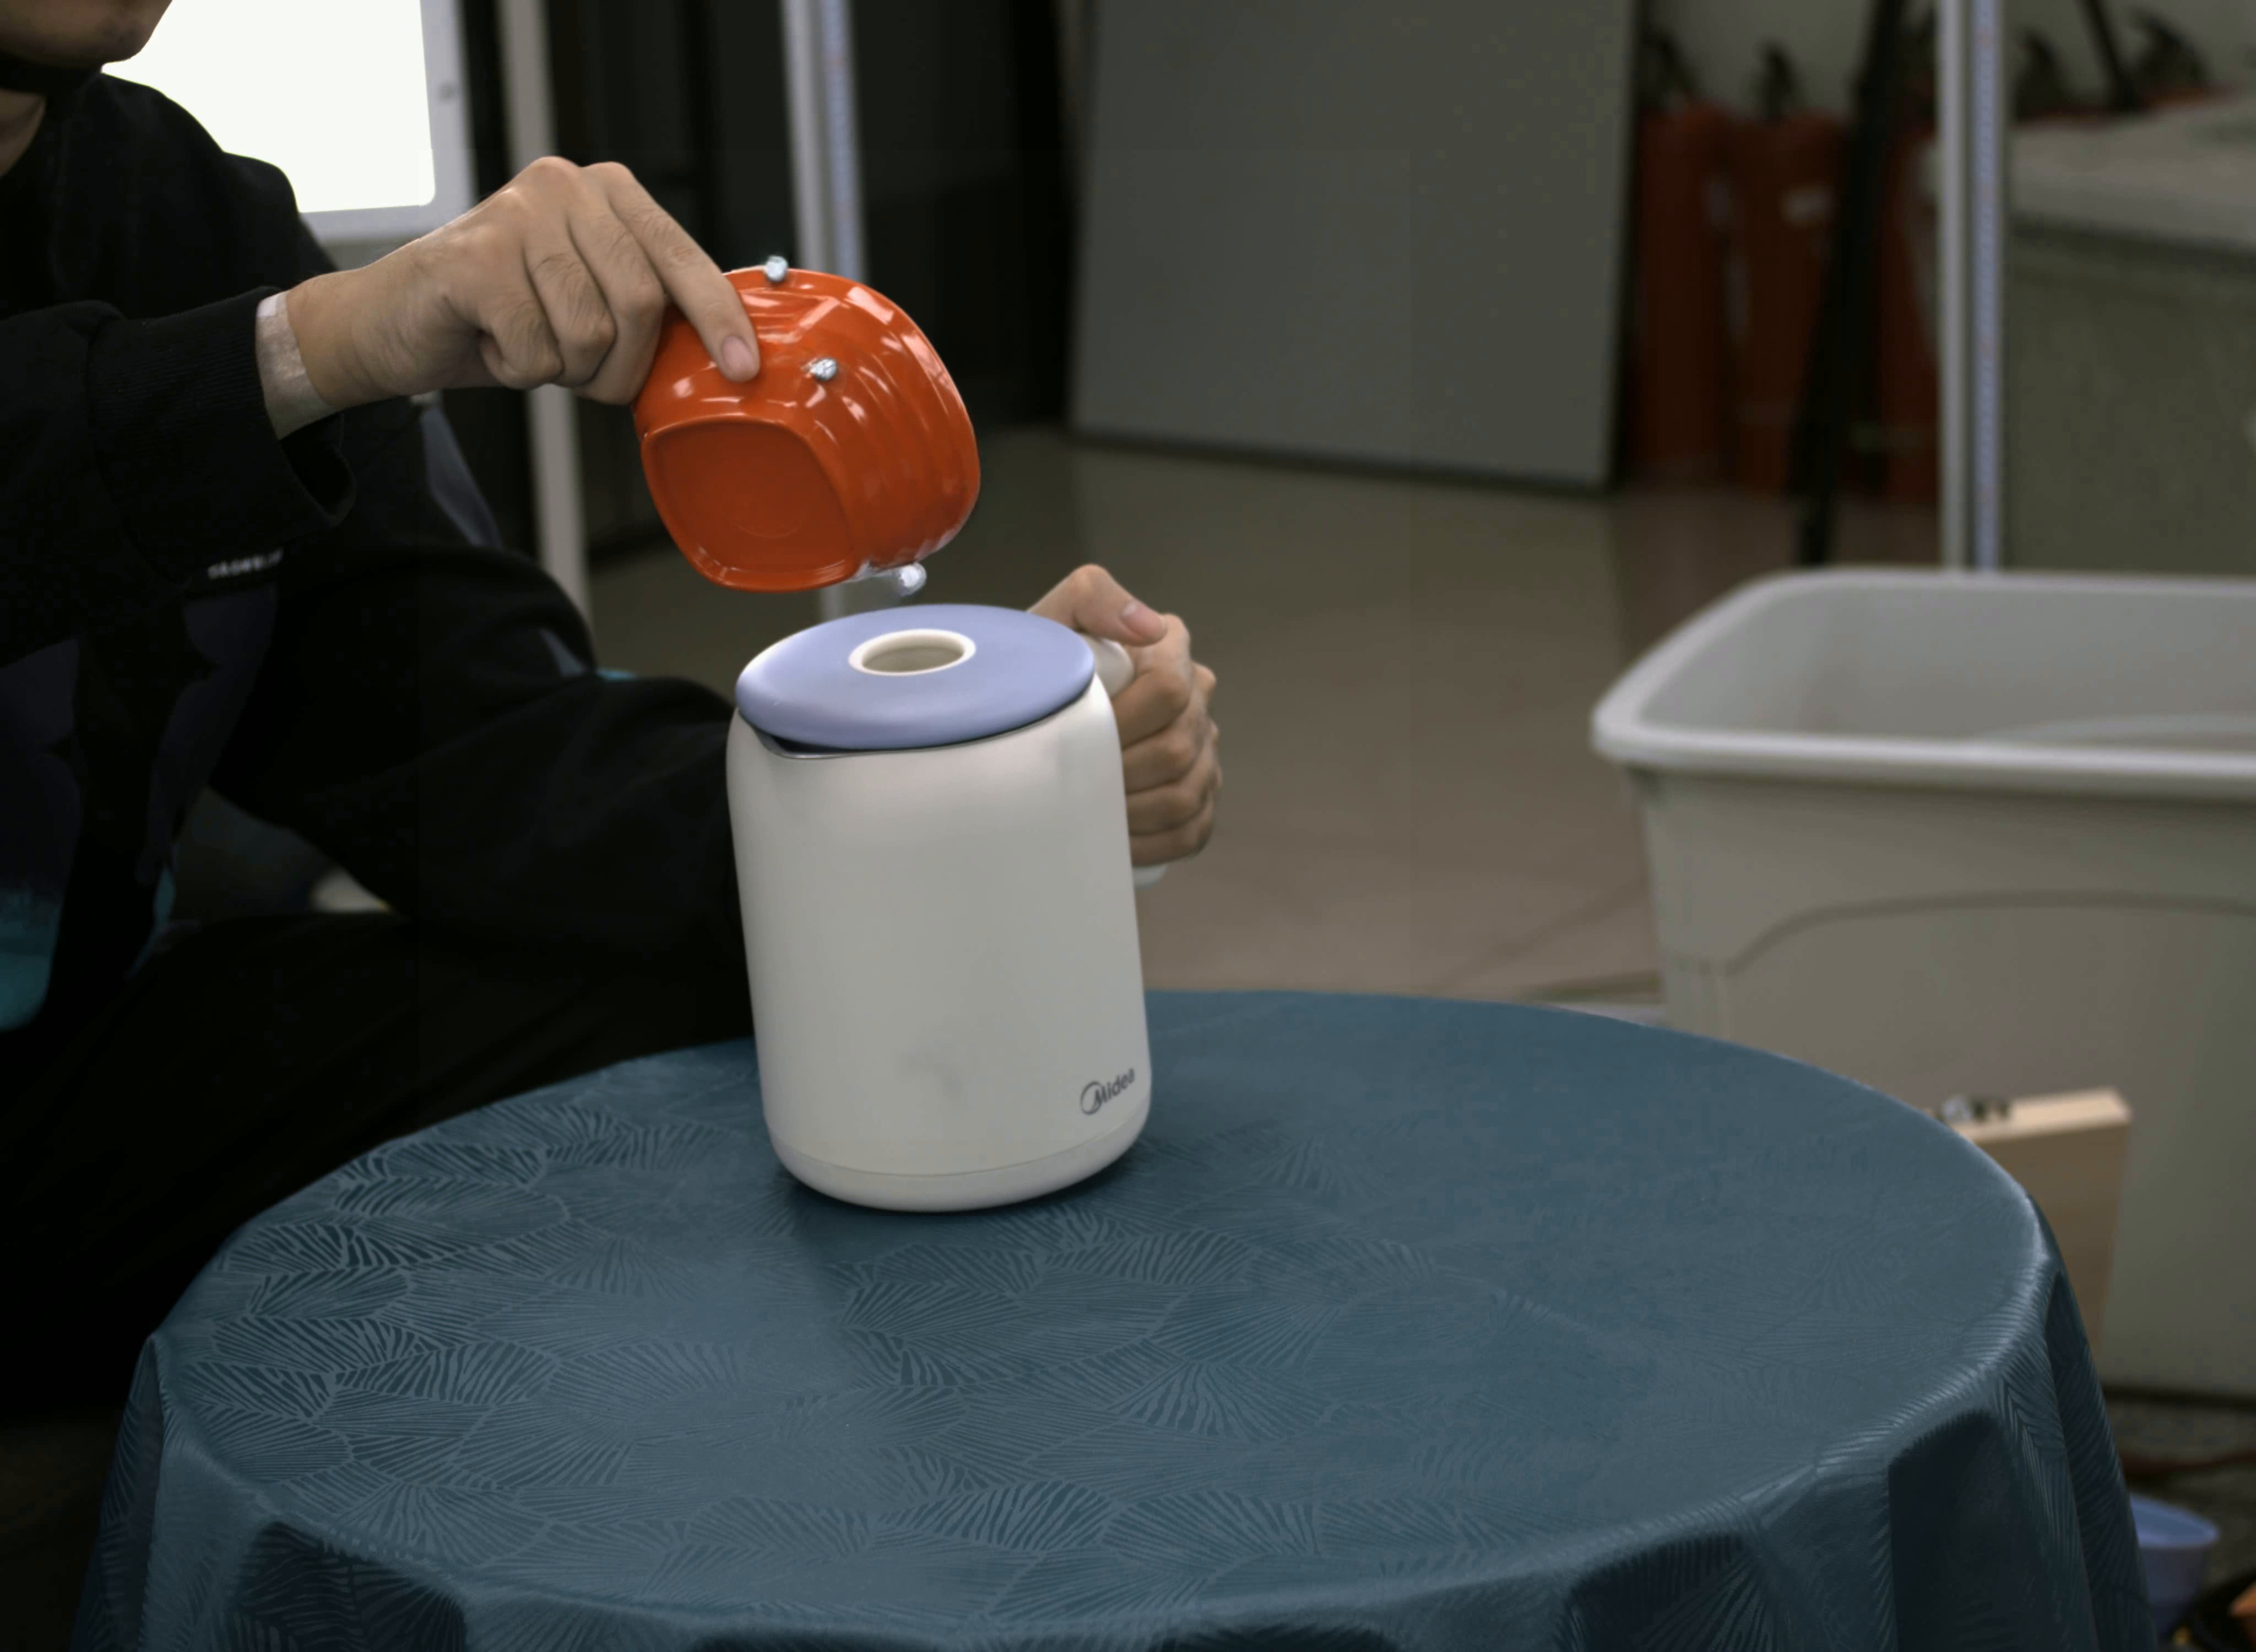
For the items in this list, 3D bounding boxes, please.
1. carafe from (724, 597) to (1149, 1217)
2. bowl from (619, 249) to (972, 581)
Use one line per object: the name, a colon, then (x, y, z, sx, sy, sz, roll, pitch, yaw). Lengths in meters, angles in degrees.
carafe: (-0.050, 0.018, 1.801, 0.133, 0.184, 0.188, 11, 24, 34)
bowl: (-0.109, -0.117, 1.659, 0.119, 0.119, 0.051, 4, 45, 29)
